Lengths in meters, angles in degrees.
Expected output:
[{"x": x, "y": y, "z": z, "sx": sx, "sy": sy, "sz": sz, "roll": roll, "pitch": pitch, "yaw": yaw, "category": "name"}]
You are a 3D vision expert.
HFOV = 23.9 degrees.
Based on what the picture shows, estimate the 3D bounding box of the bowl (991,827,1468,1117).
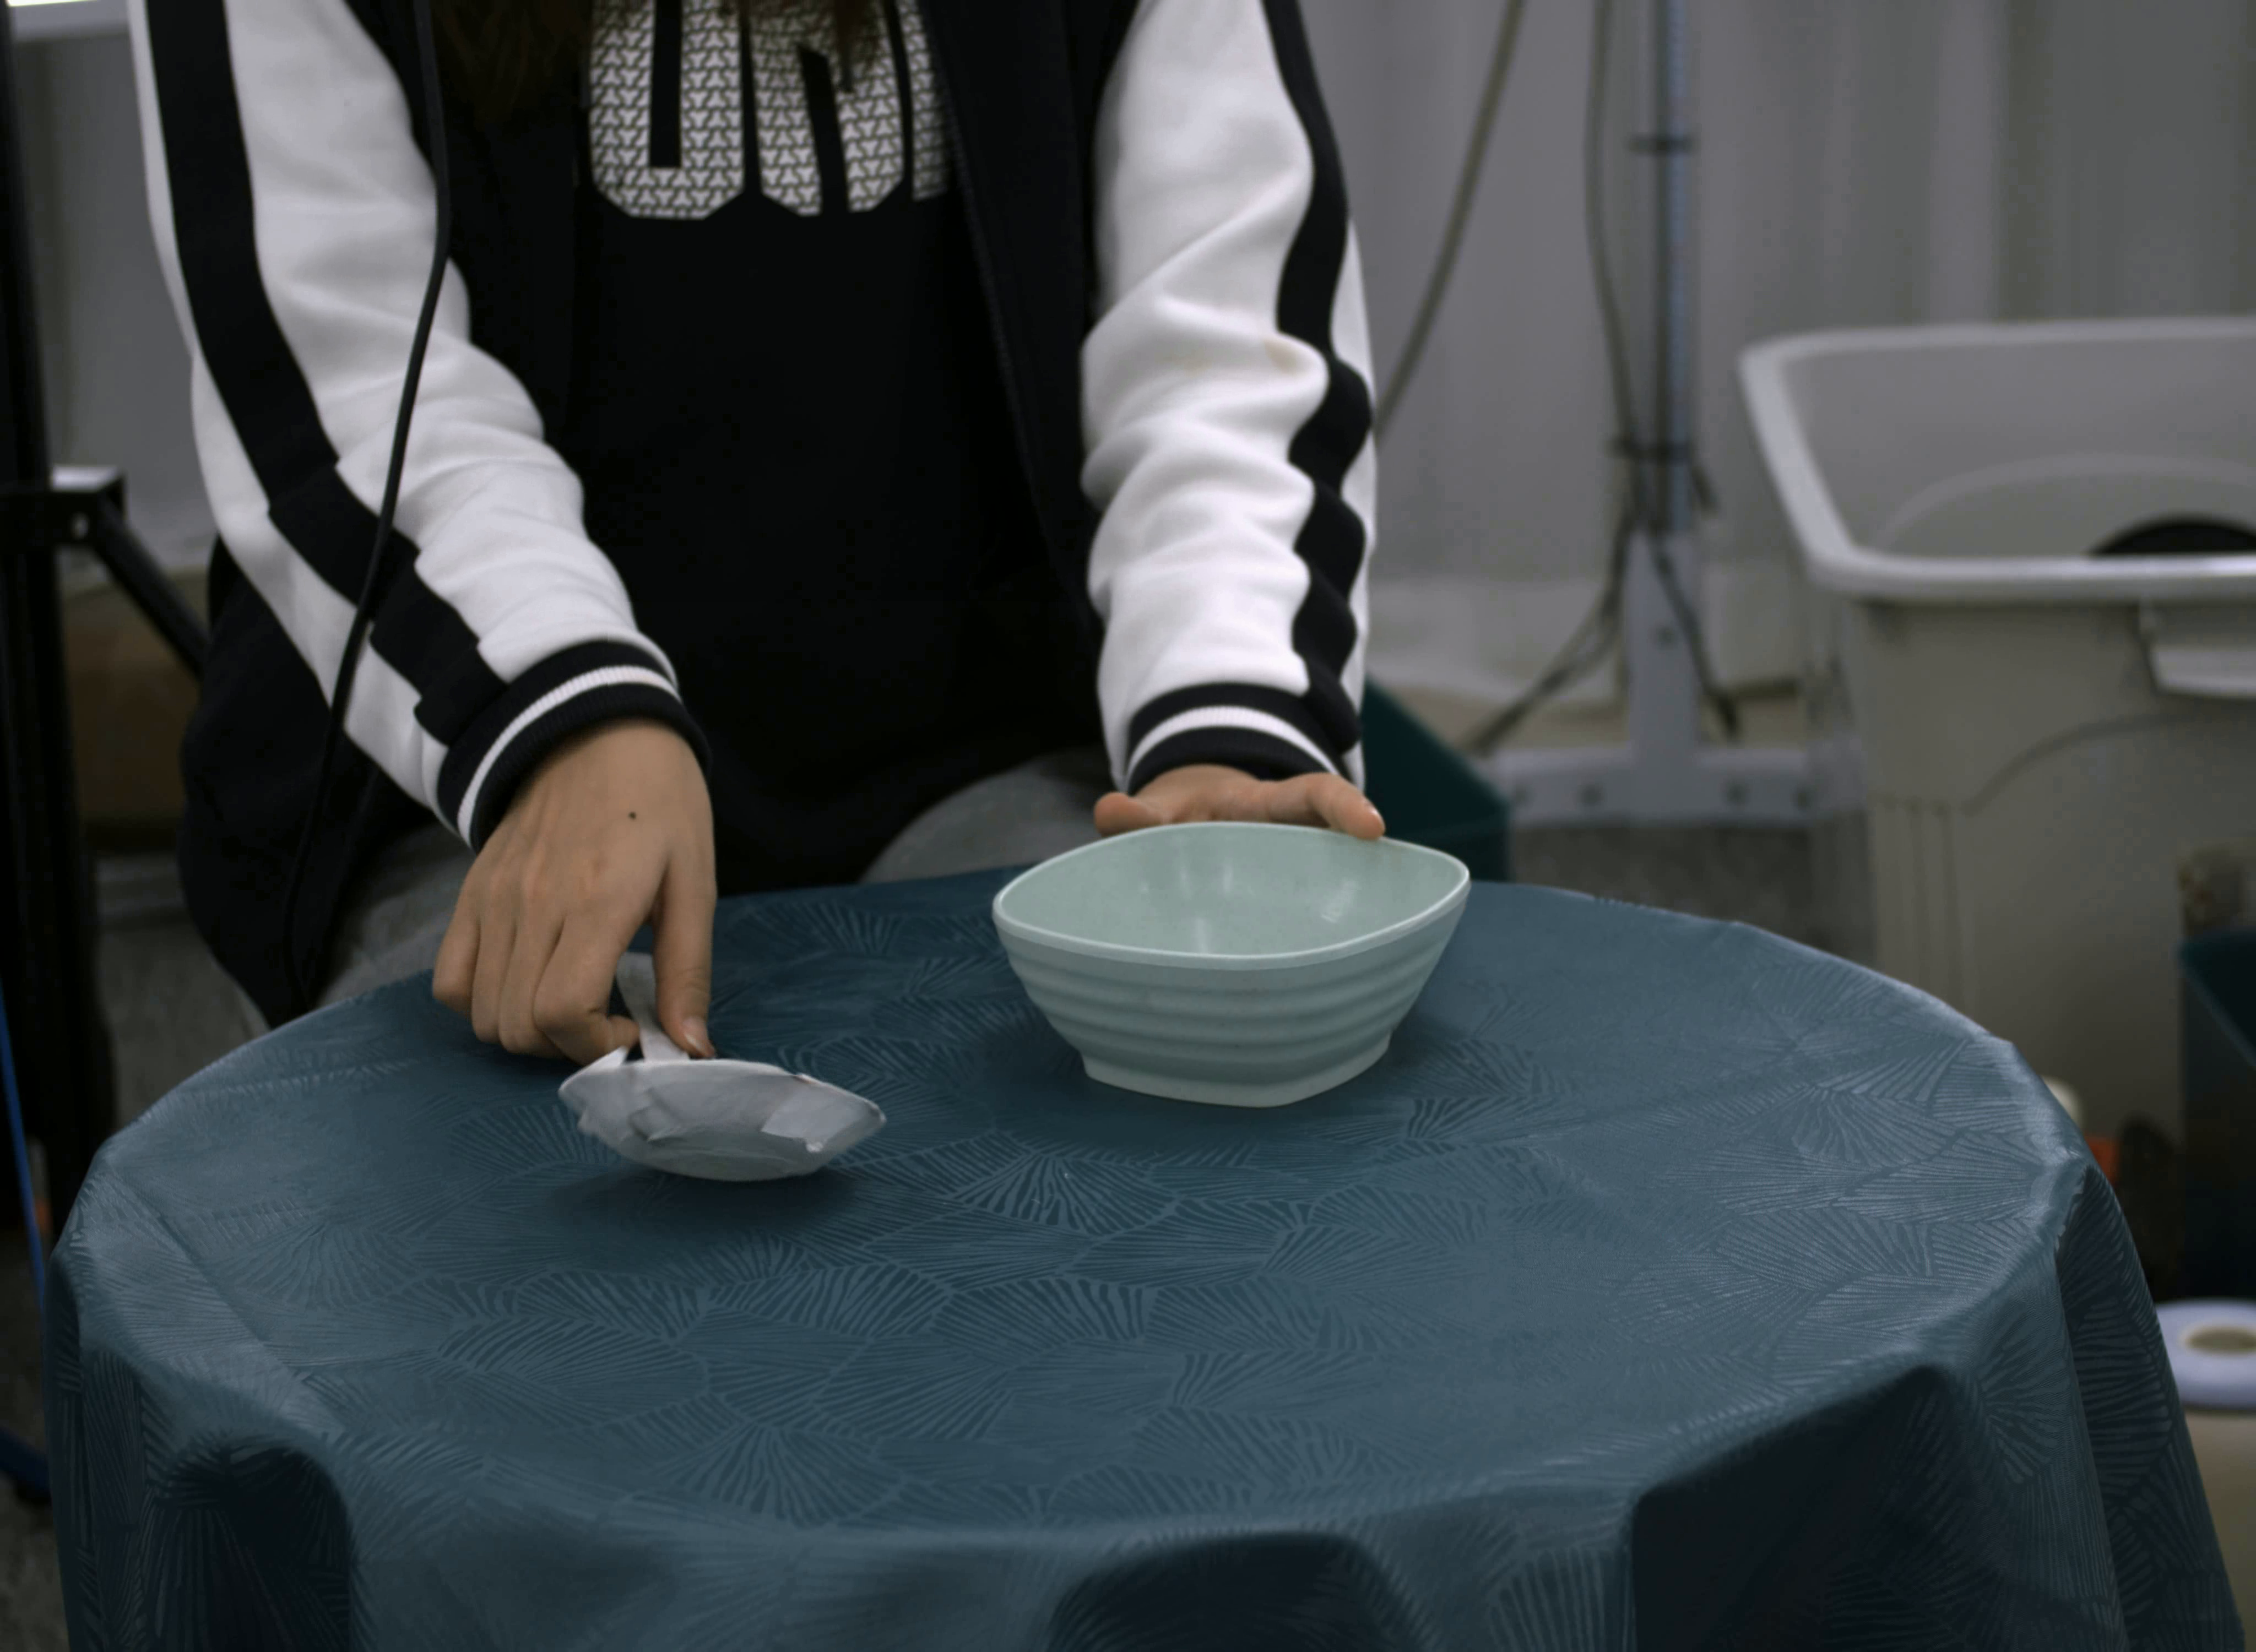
[{"x": 0.033, "y": 0.049, "z": 1.665, "sx": 0.150, "sy": 0.058, "sz": 0.152, "roll": -3, "pitch": 16, "yaw": -1, "category": "bowl"}]

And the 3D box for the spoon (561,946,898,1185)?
[{"x": -0.128, "y": 0.057, "z": 1.656, "sx": 0.099, "sy": 0.059, "sz": 0.280, "roll": 11, "pitch": 14, "yaw": -9, "category": "spoon"}]
